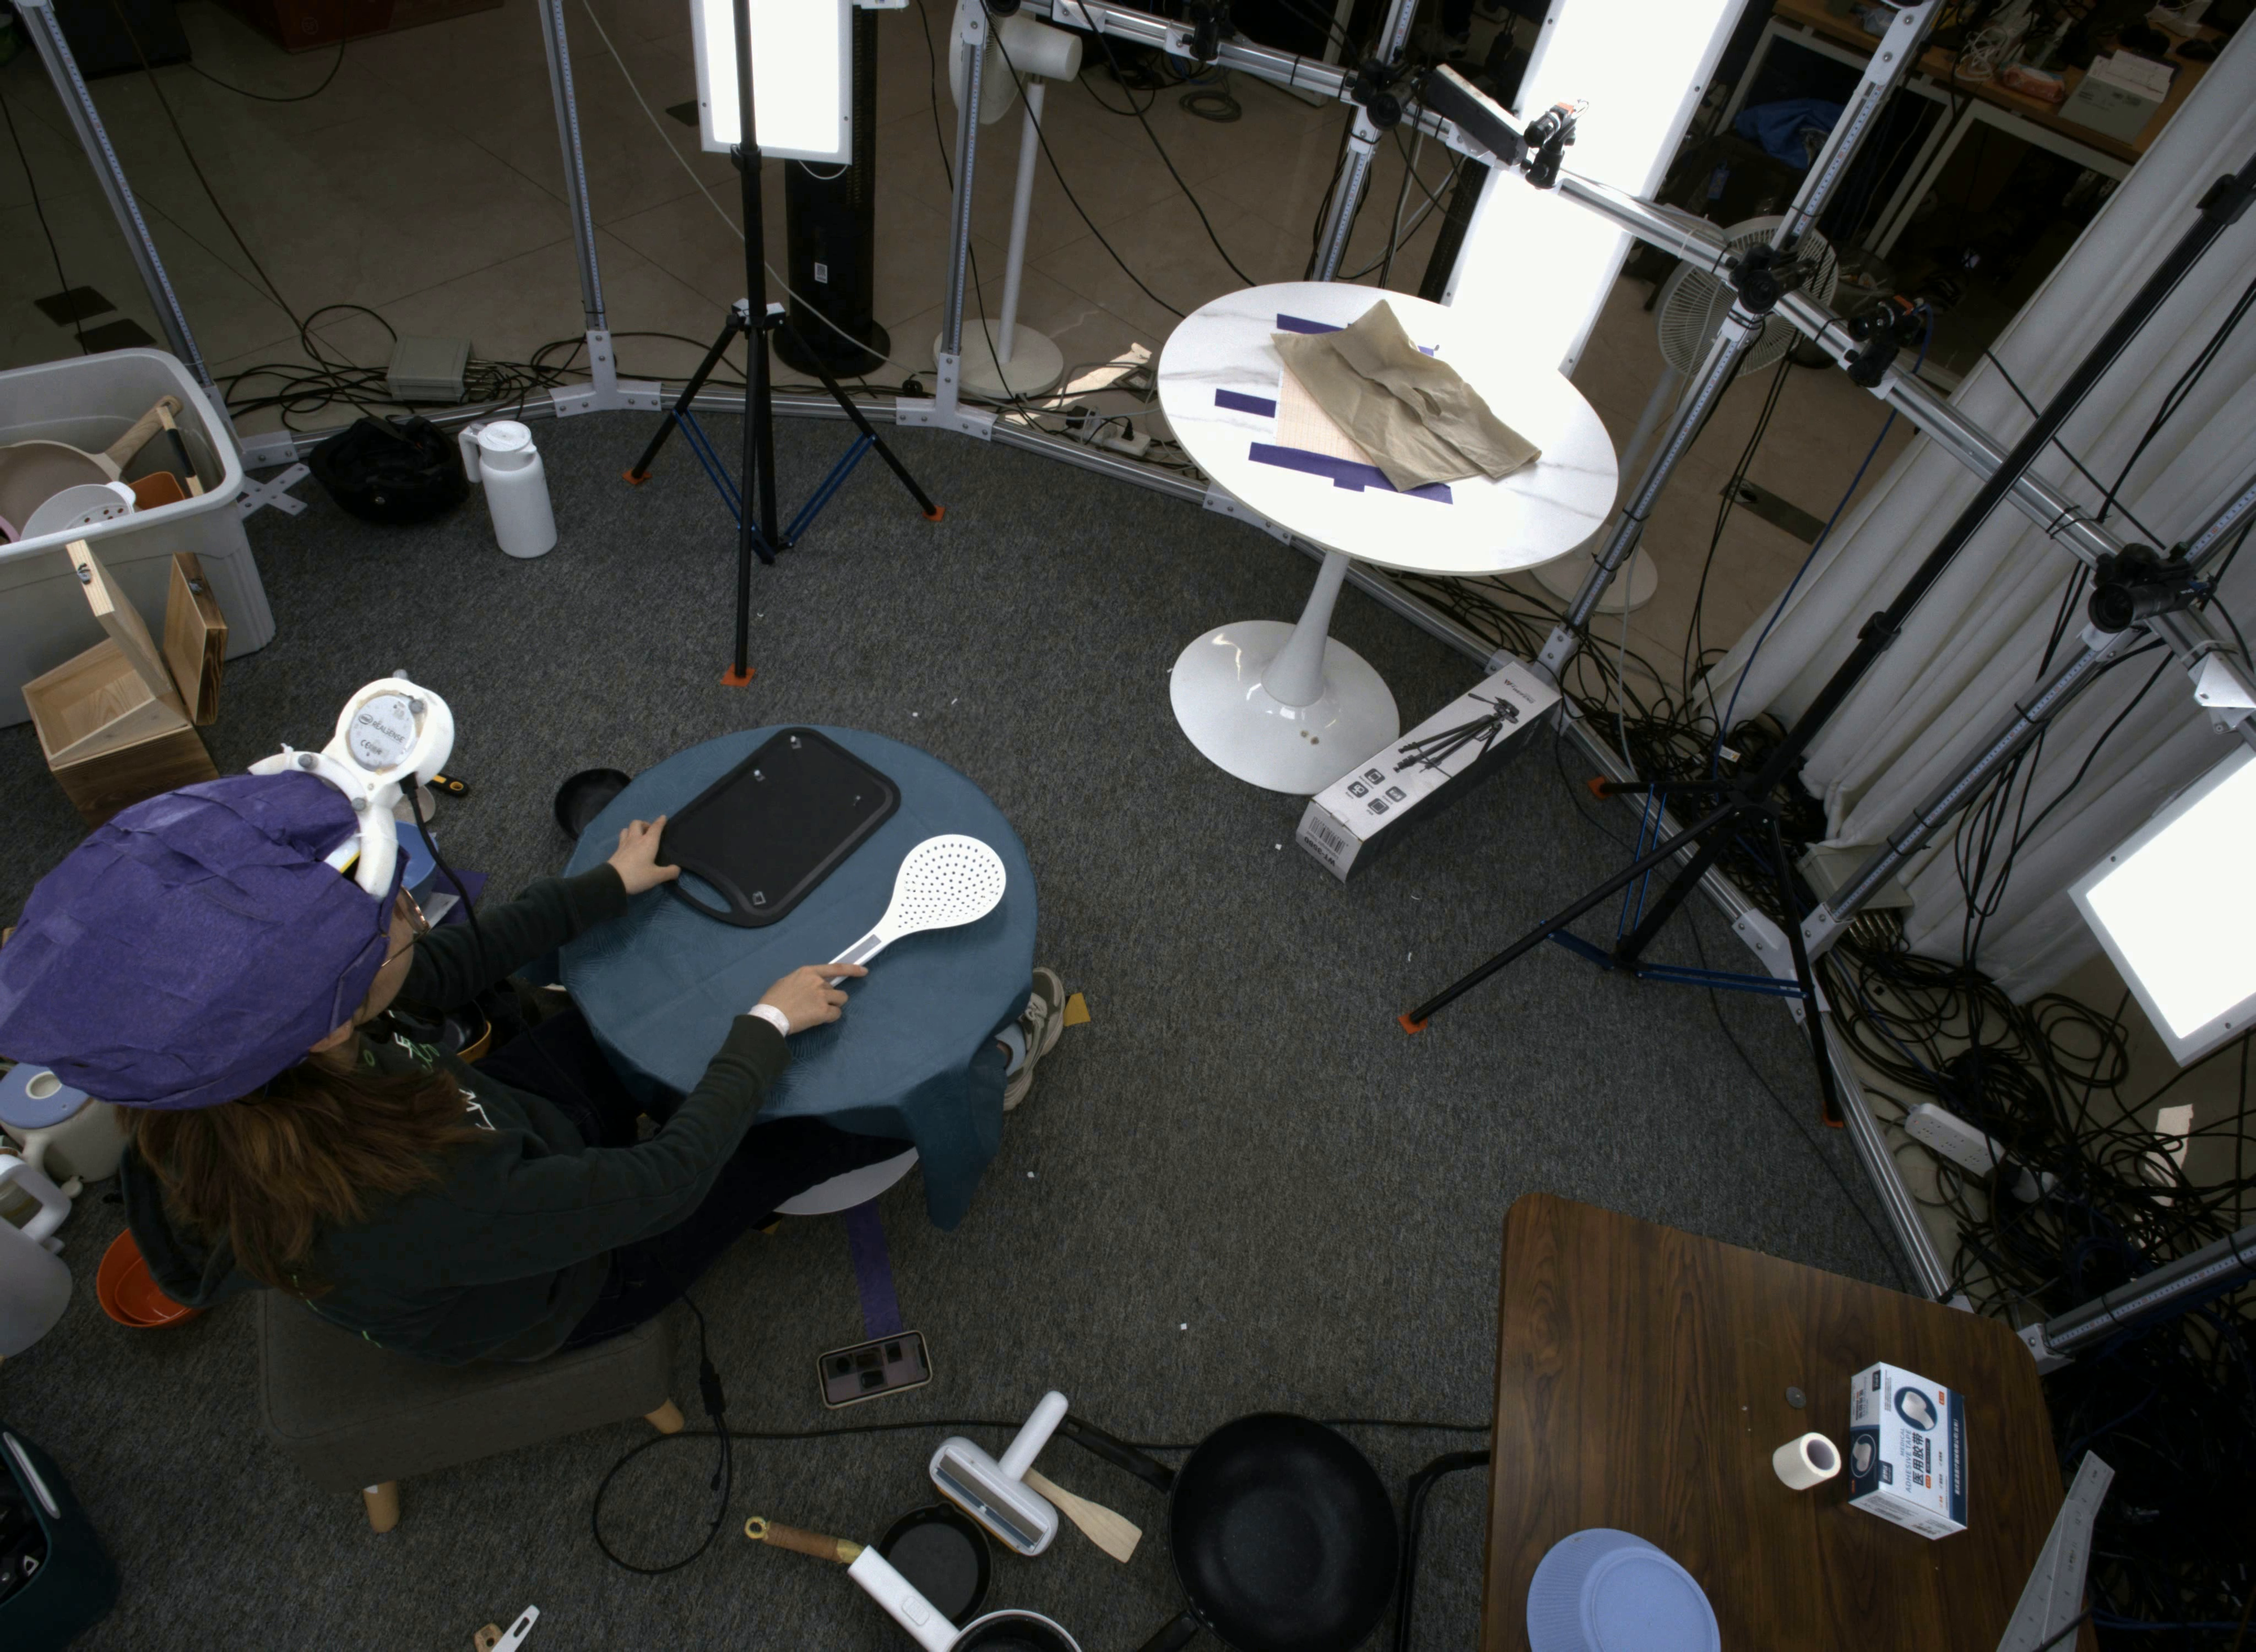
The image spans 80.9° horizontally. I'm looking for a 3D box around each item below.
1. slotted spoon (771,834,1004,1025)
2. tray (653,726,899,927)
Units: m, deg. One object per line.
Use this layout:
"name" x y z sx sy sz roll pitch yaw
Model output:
"slotted spoon" -0.301 0.130 1.635 0.133 0.047 0.350 40 55 19
"tray" -0.467 -0.003 1.713 0.207 0.010 0.324 33 53 10
